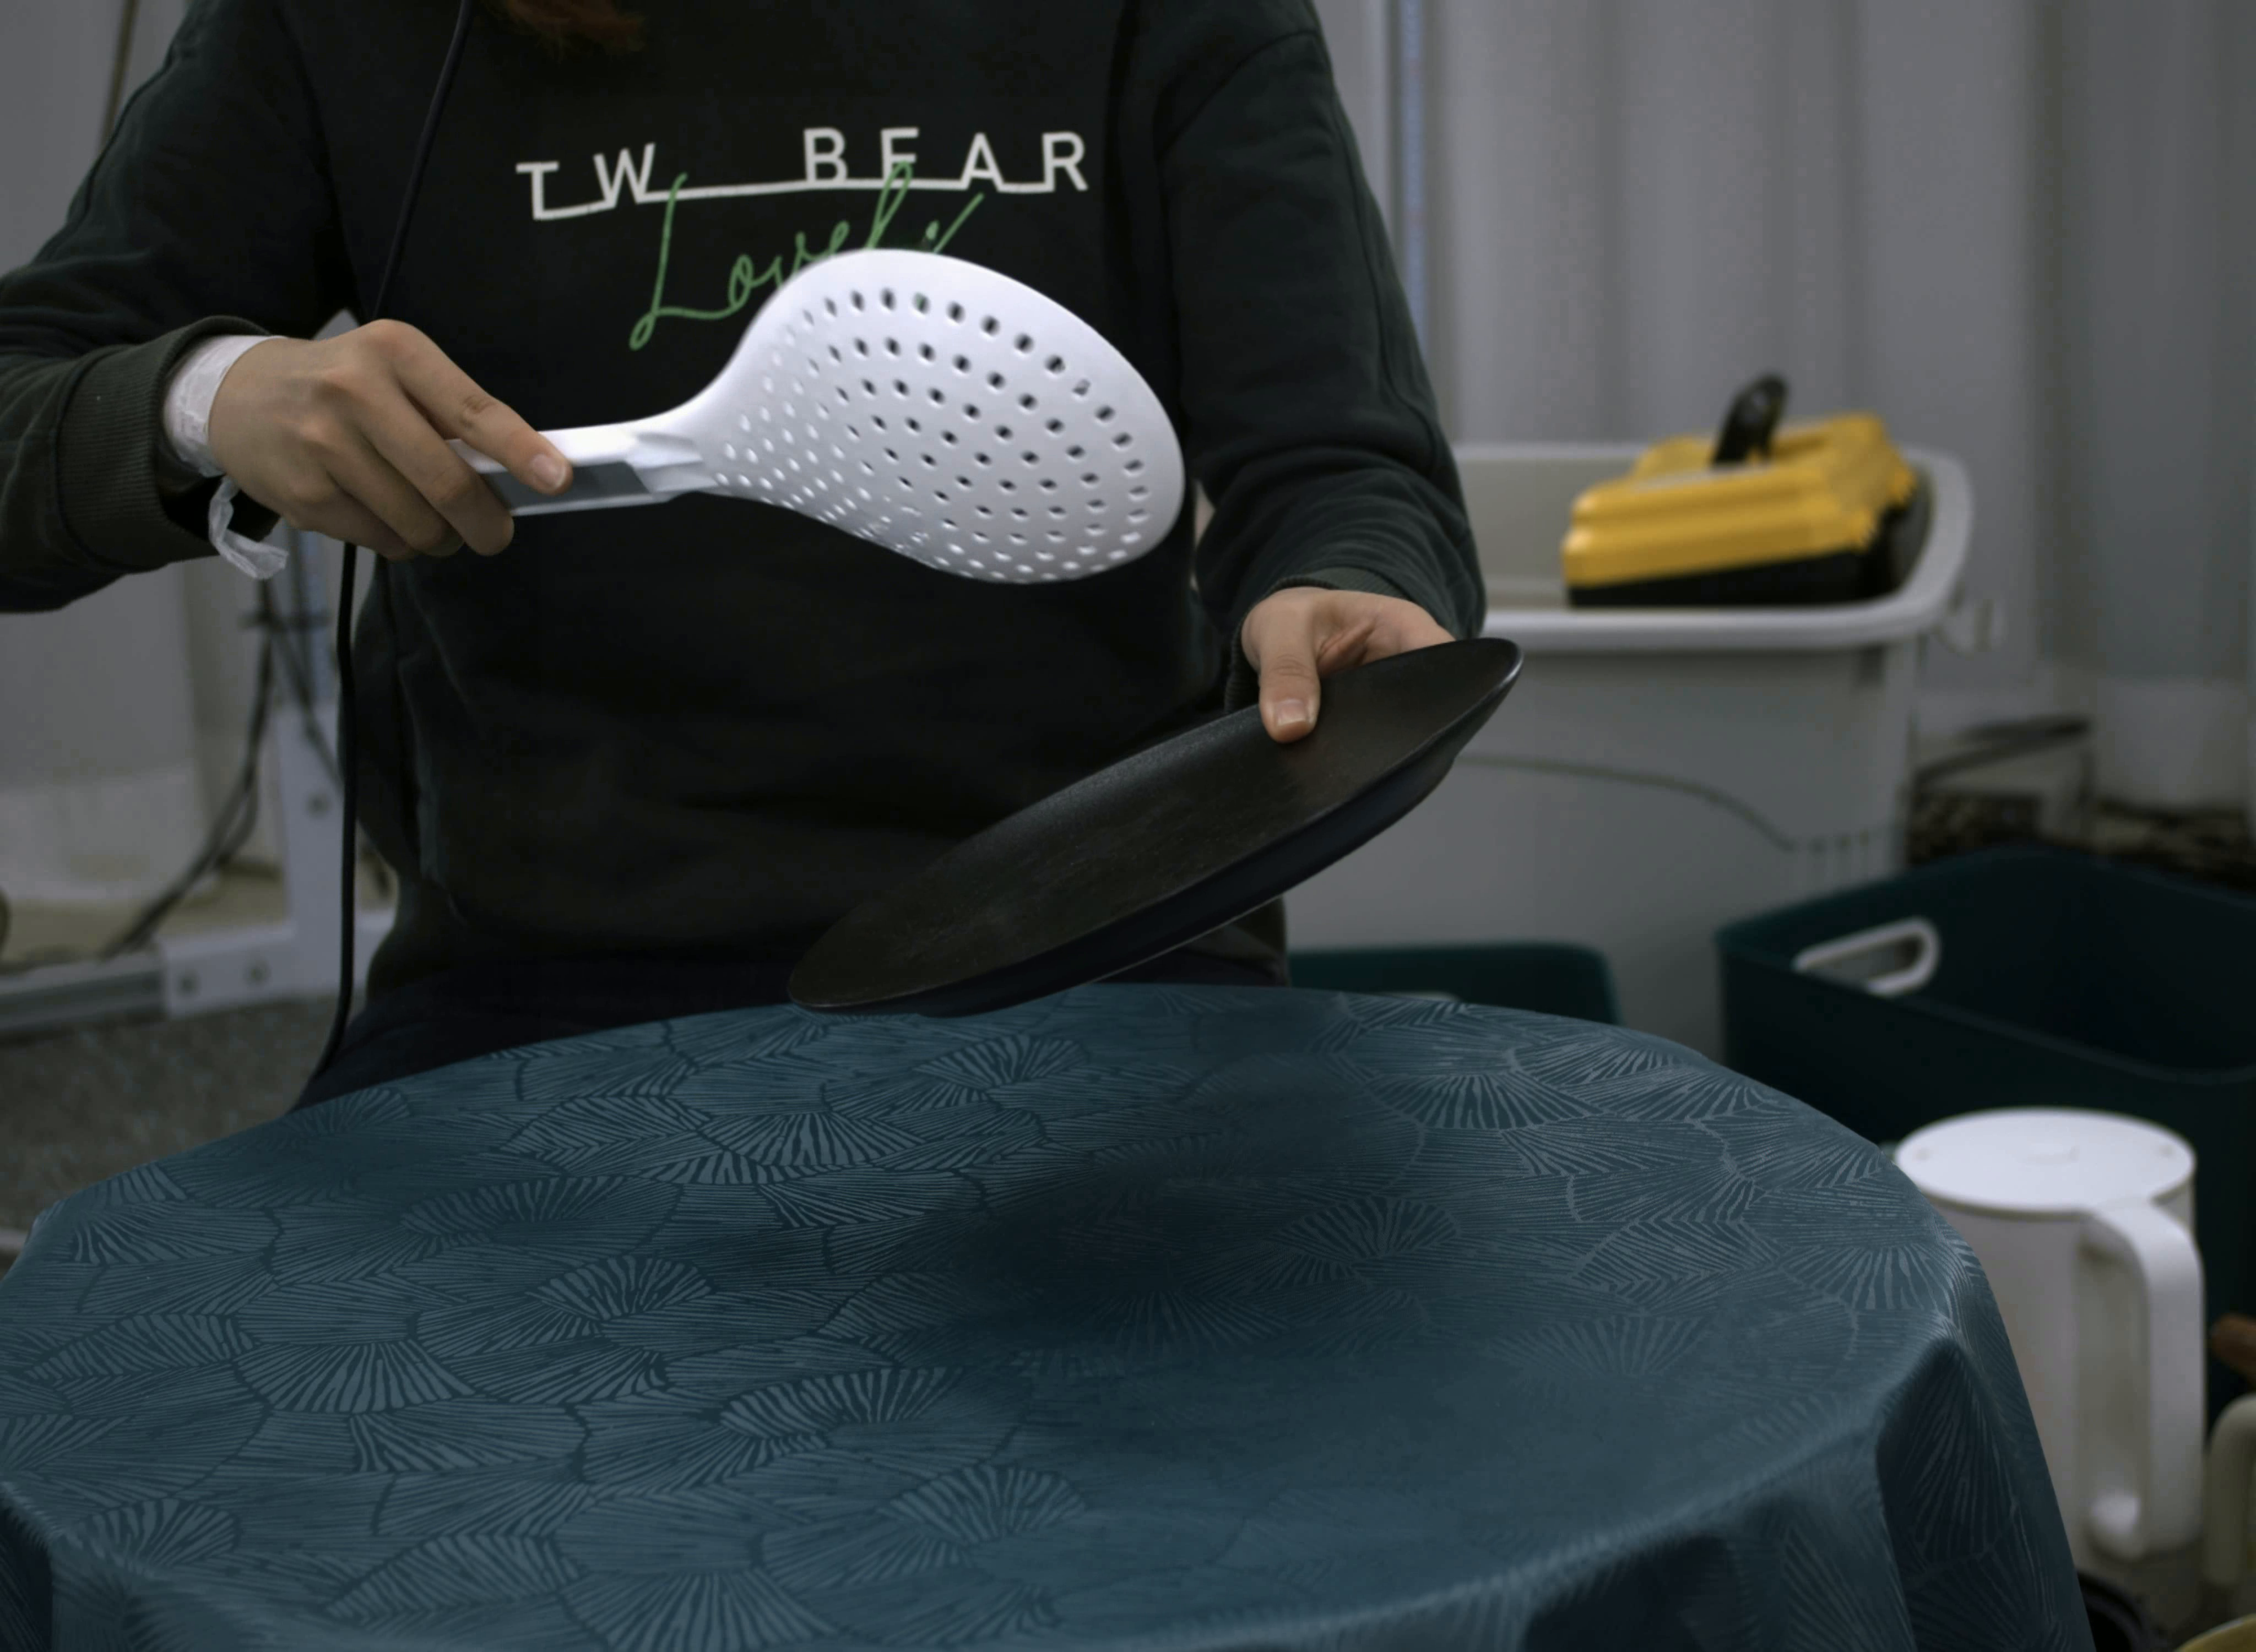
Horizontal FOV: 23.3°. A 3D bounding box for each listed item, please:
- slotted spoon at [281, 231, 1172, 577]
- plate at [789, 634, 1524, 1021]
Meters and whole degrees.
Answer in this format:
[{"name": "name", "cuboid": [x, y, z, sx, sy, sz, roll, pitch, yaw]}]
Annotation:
[{"name": "slotted spoon", "cuboid": [-0.137, -0.117, 1.700, 0.351, 0.134, 0.046, 1, 46, 42]}, {"name": "plate", "cuboid": [0.012, 0.006, 1.639, 0.244, 0.023, 0.245, -25, 10, 4]}]
